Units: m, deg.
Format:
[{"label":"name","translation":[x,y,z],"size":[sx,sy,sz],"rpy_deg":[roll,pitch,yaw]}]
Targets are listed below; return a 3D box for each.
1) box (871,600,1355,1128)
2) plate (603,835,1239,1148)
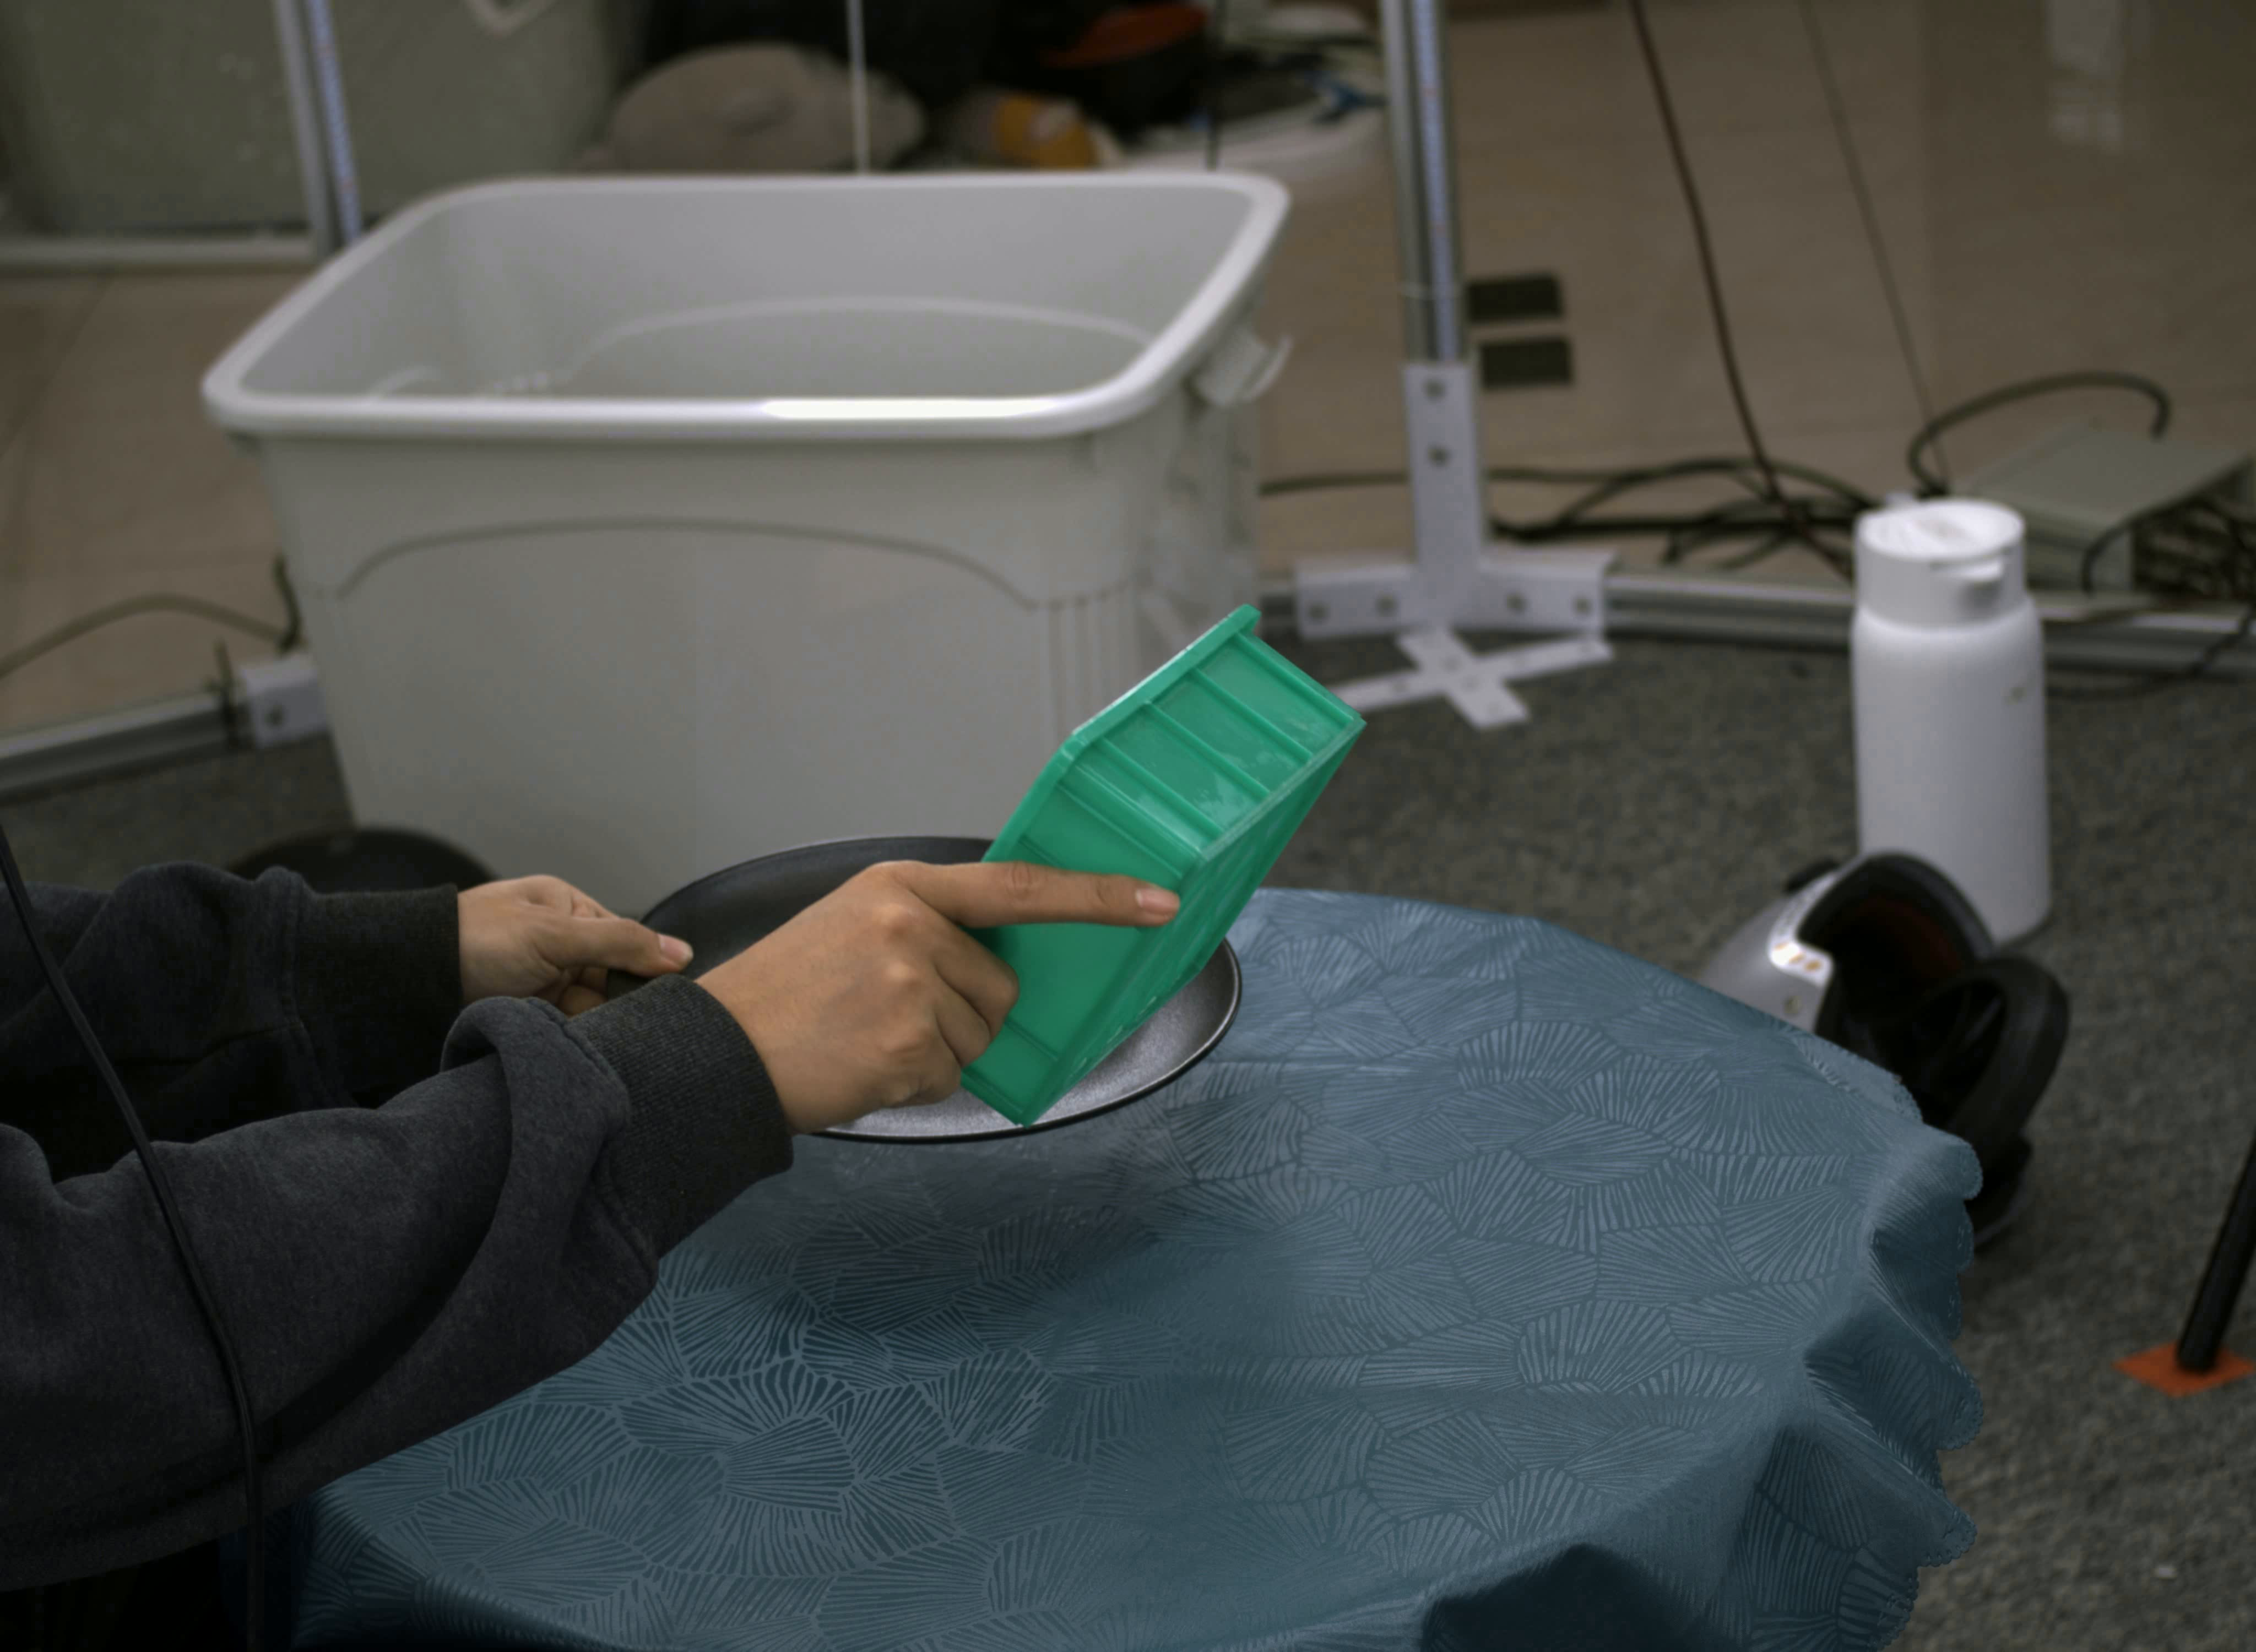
[{"label":"box","translation":[0.001,0.015,1.930],"size":[0.065,0.140,0.208],"rpy_deg":[34,24,5]},{"label":"plate","translation":[-0.079,0.068,2.166],"size":[0.244,0.024,0.240],"rpy_deg":[1,28,-1]}]
